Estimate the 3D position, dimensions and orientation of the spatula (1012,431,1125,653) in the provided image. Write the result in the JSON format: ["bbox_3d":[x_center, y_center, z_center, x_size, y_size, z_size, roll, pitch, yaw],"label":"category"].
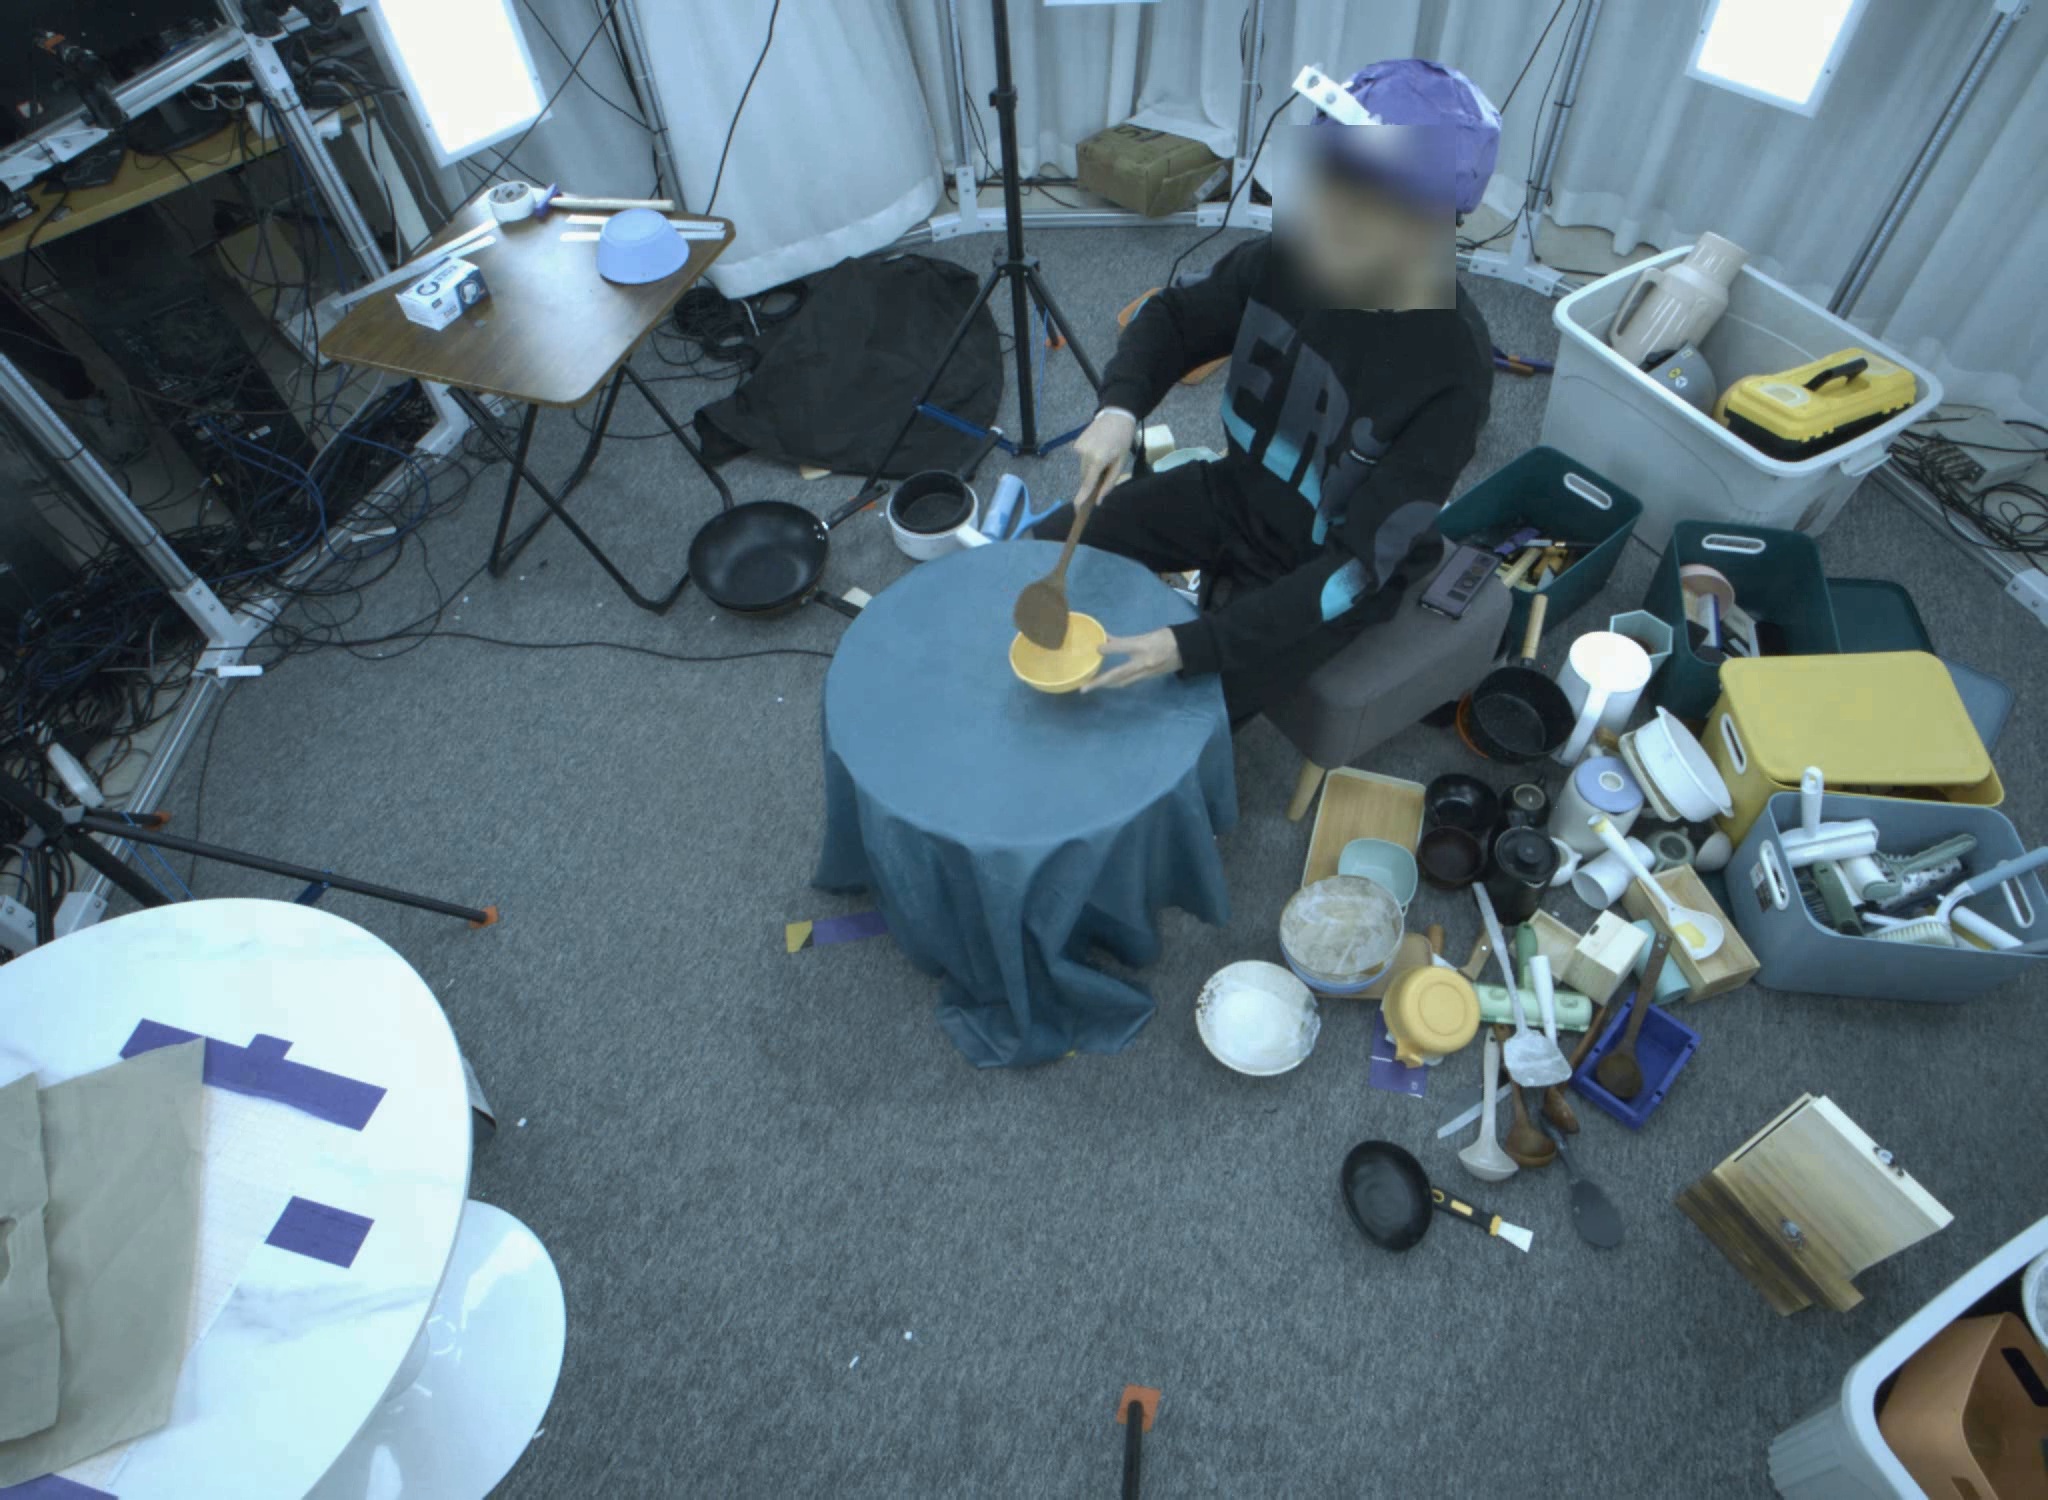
[{"bbox_3d":[0.079,-0.322,1.818,0.098,0.015,0.385,30,72,-26],"label":"spatula"}]

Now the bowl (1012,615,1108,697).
[{"bbox_3d":[0.057,-0.127,1.825,0.144,0.061,0.144,-5,53,8],"label":"bowl"}]
